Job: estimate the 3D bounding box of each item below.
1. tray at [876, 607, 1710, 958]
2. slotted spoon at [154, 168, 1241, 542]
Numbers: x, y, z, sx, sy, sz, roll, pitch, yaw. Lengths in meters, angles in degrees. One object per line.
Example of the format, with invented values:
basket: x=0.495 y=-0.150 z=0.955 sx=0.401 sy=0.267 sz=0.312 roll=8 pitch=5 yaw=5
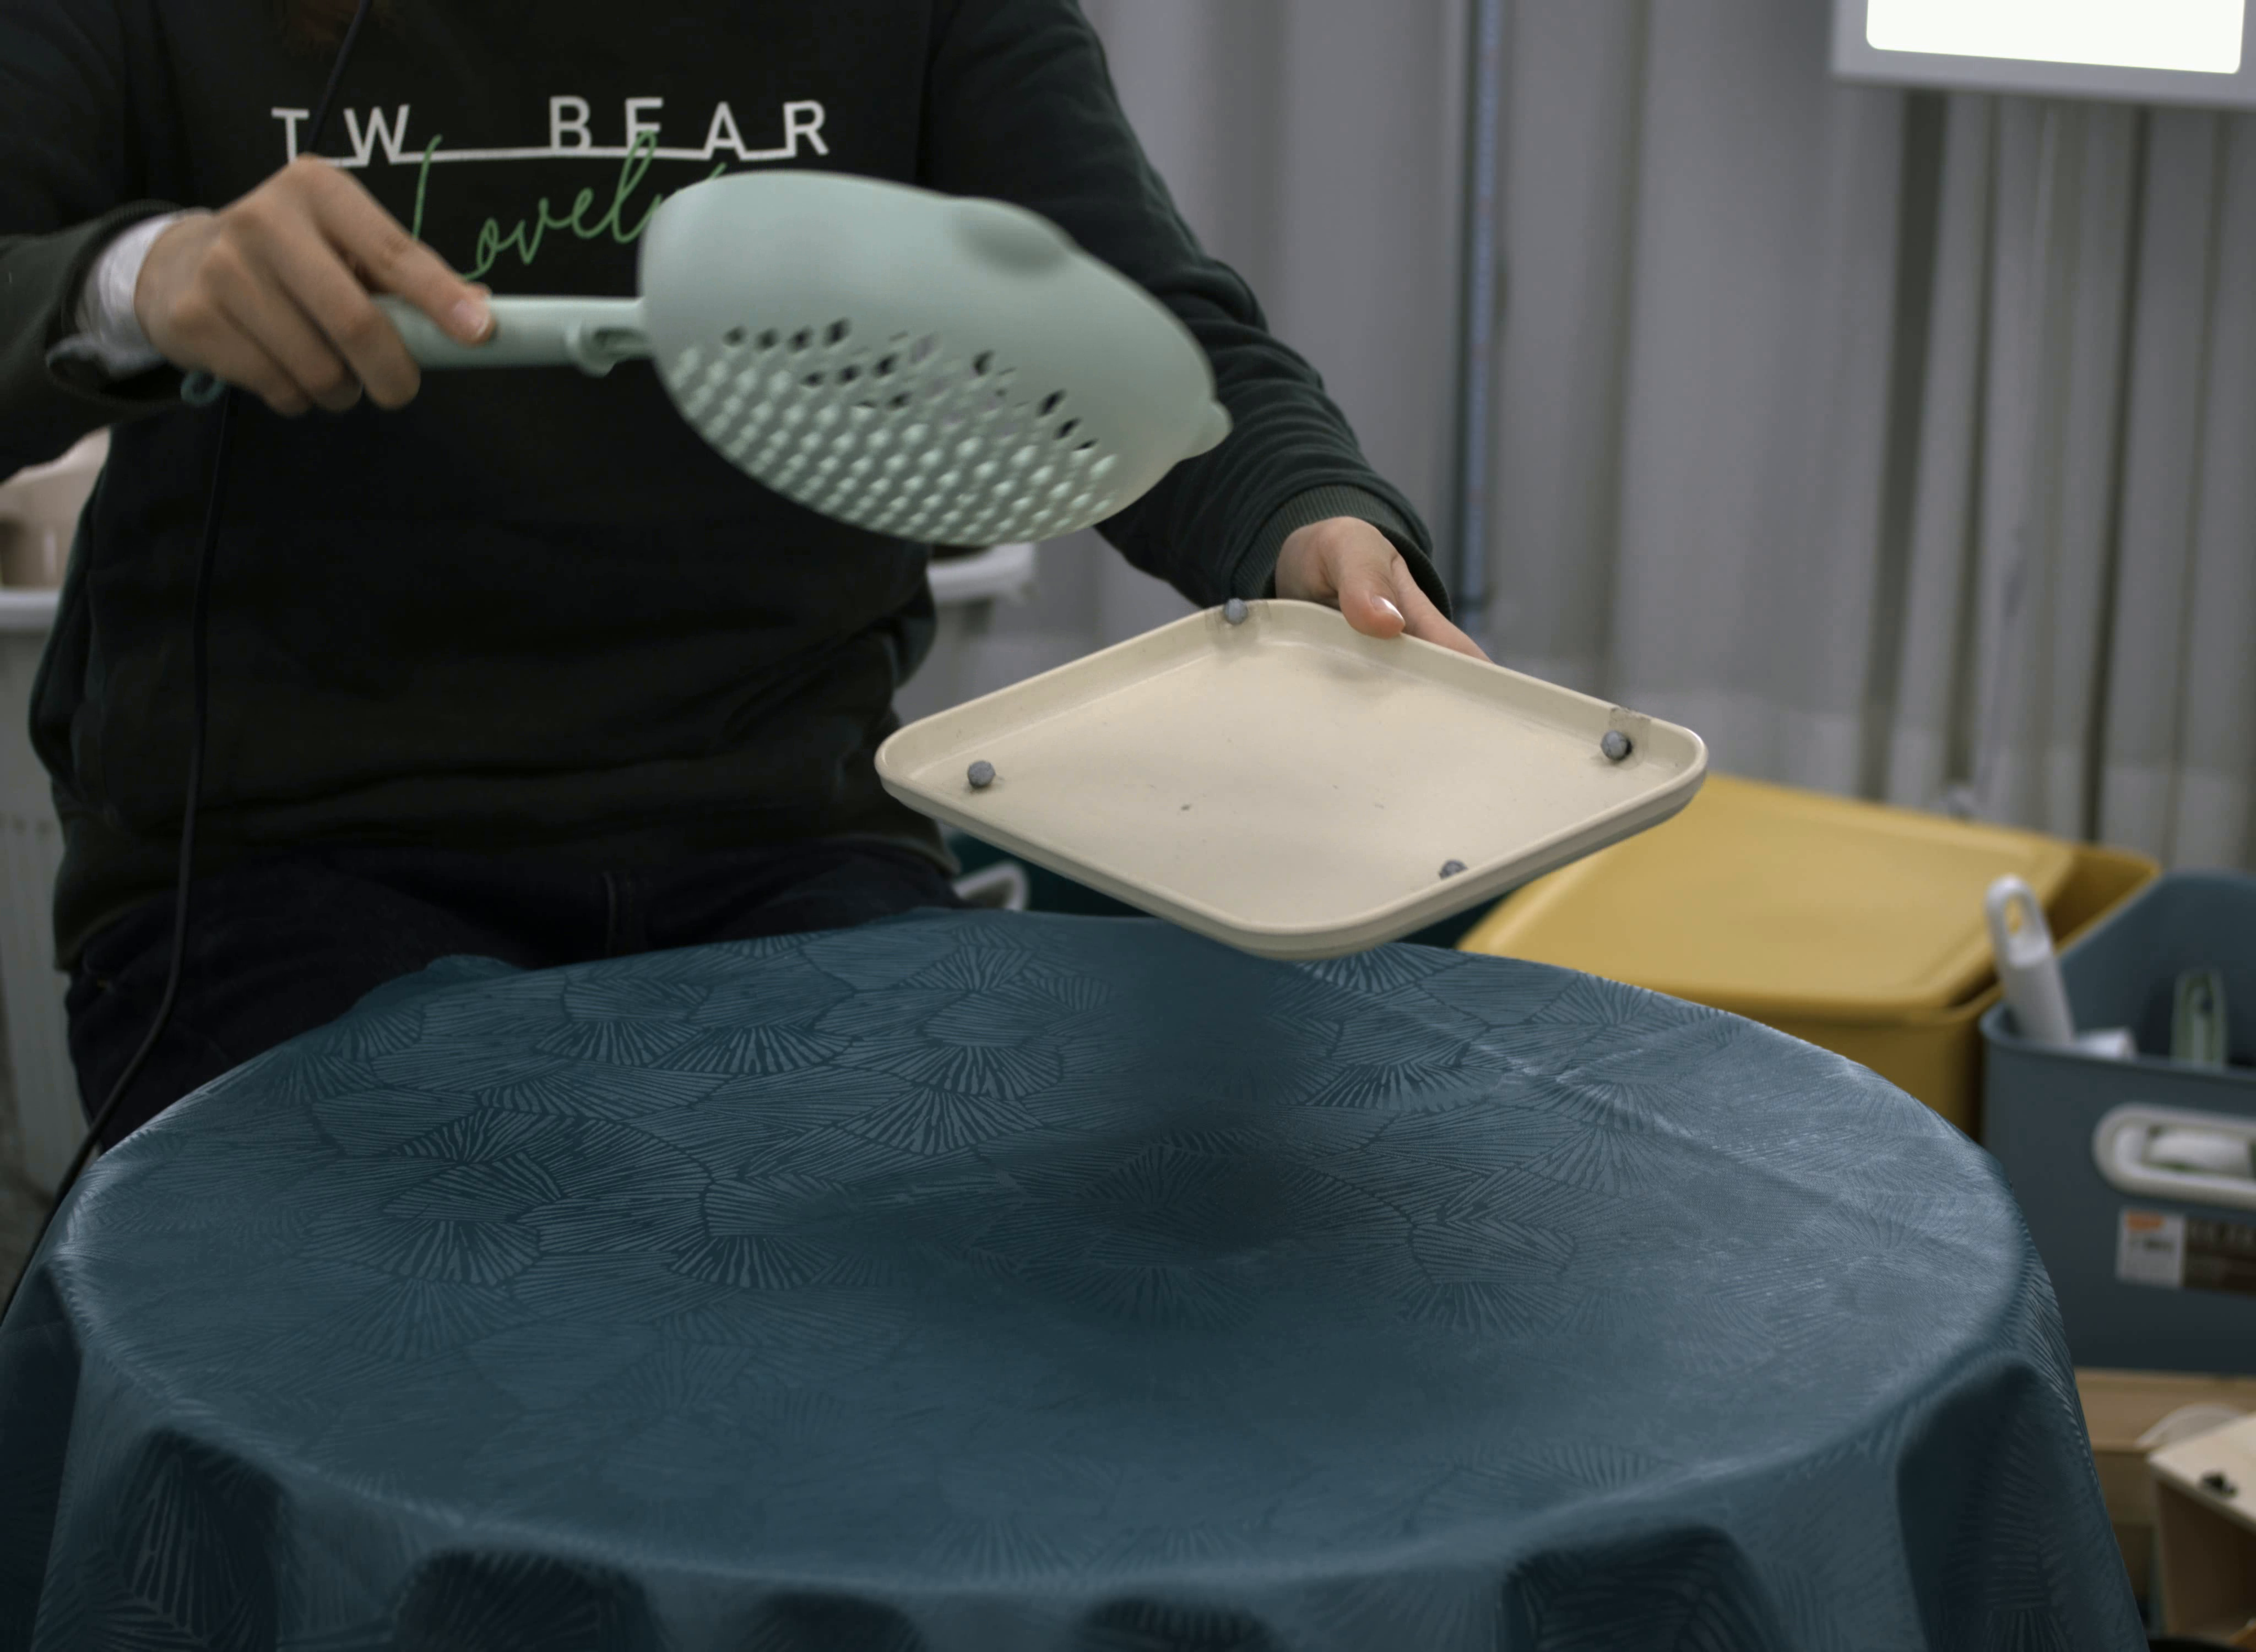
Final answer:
tray: x=0.047 y=-0.015 z=1.585 sx=0.172 sy=0.017 sz=0.236 roll=-22 pitch=25 yaw=-30
slotted spoon: x=-0.141 y=-0.141 z=1.551 sx=0.354 sy=0.075 sz=0.171 roll=13 pitch=-18 yaw=31
